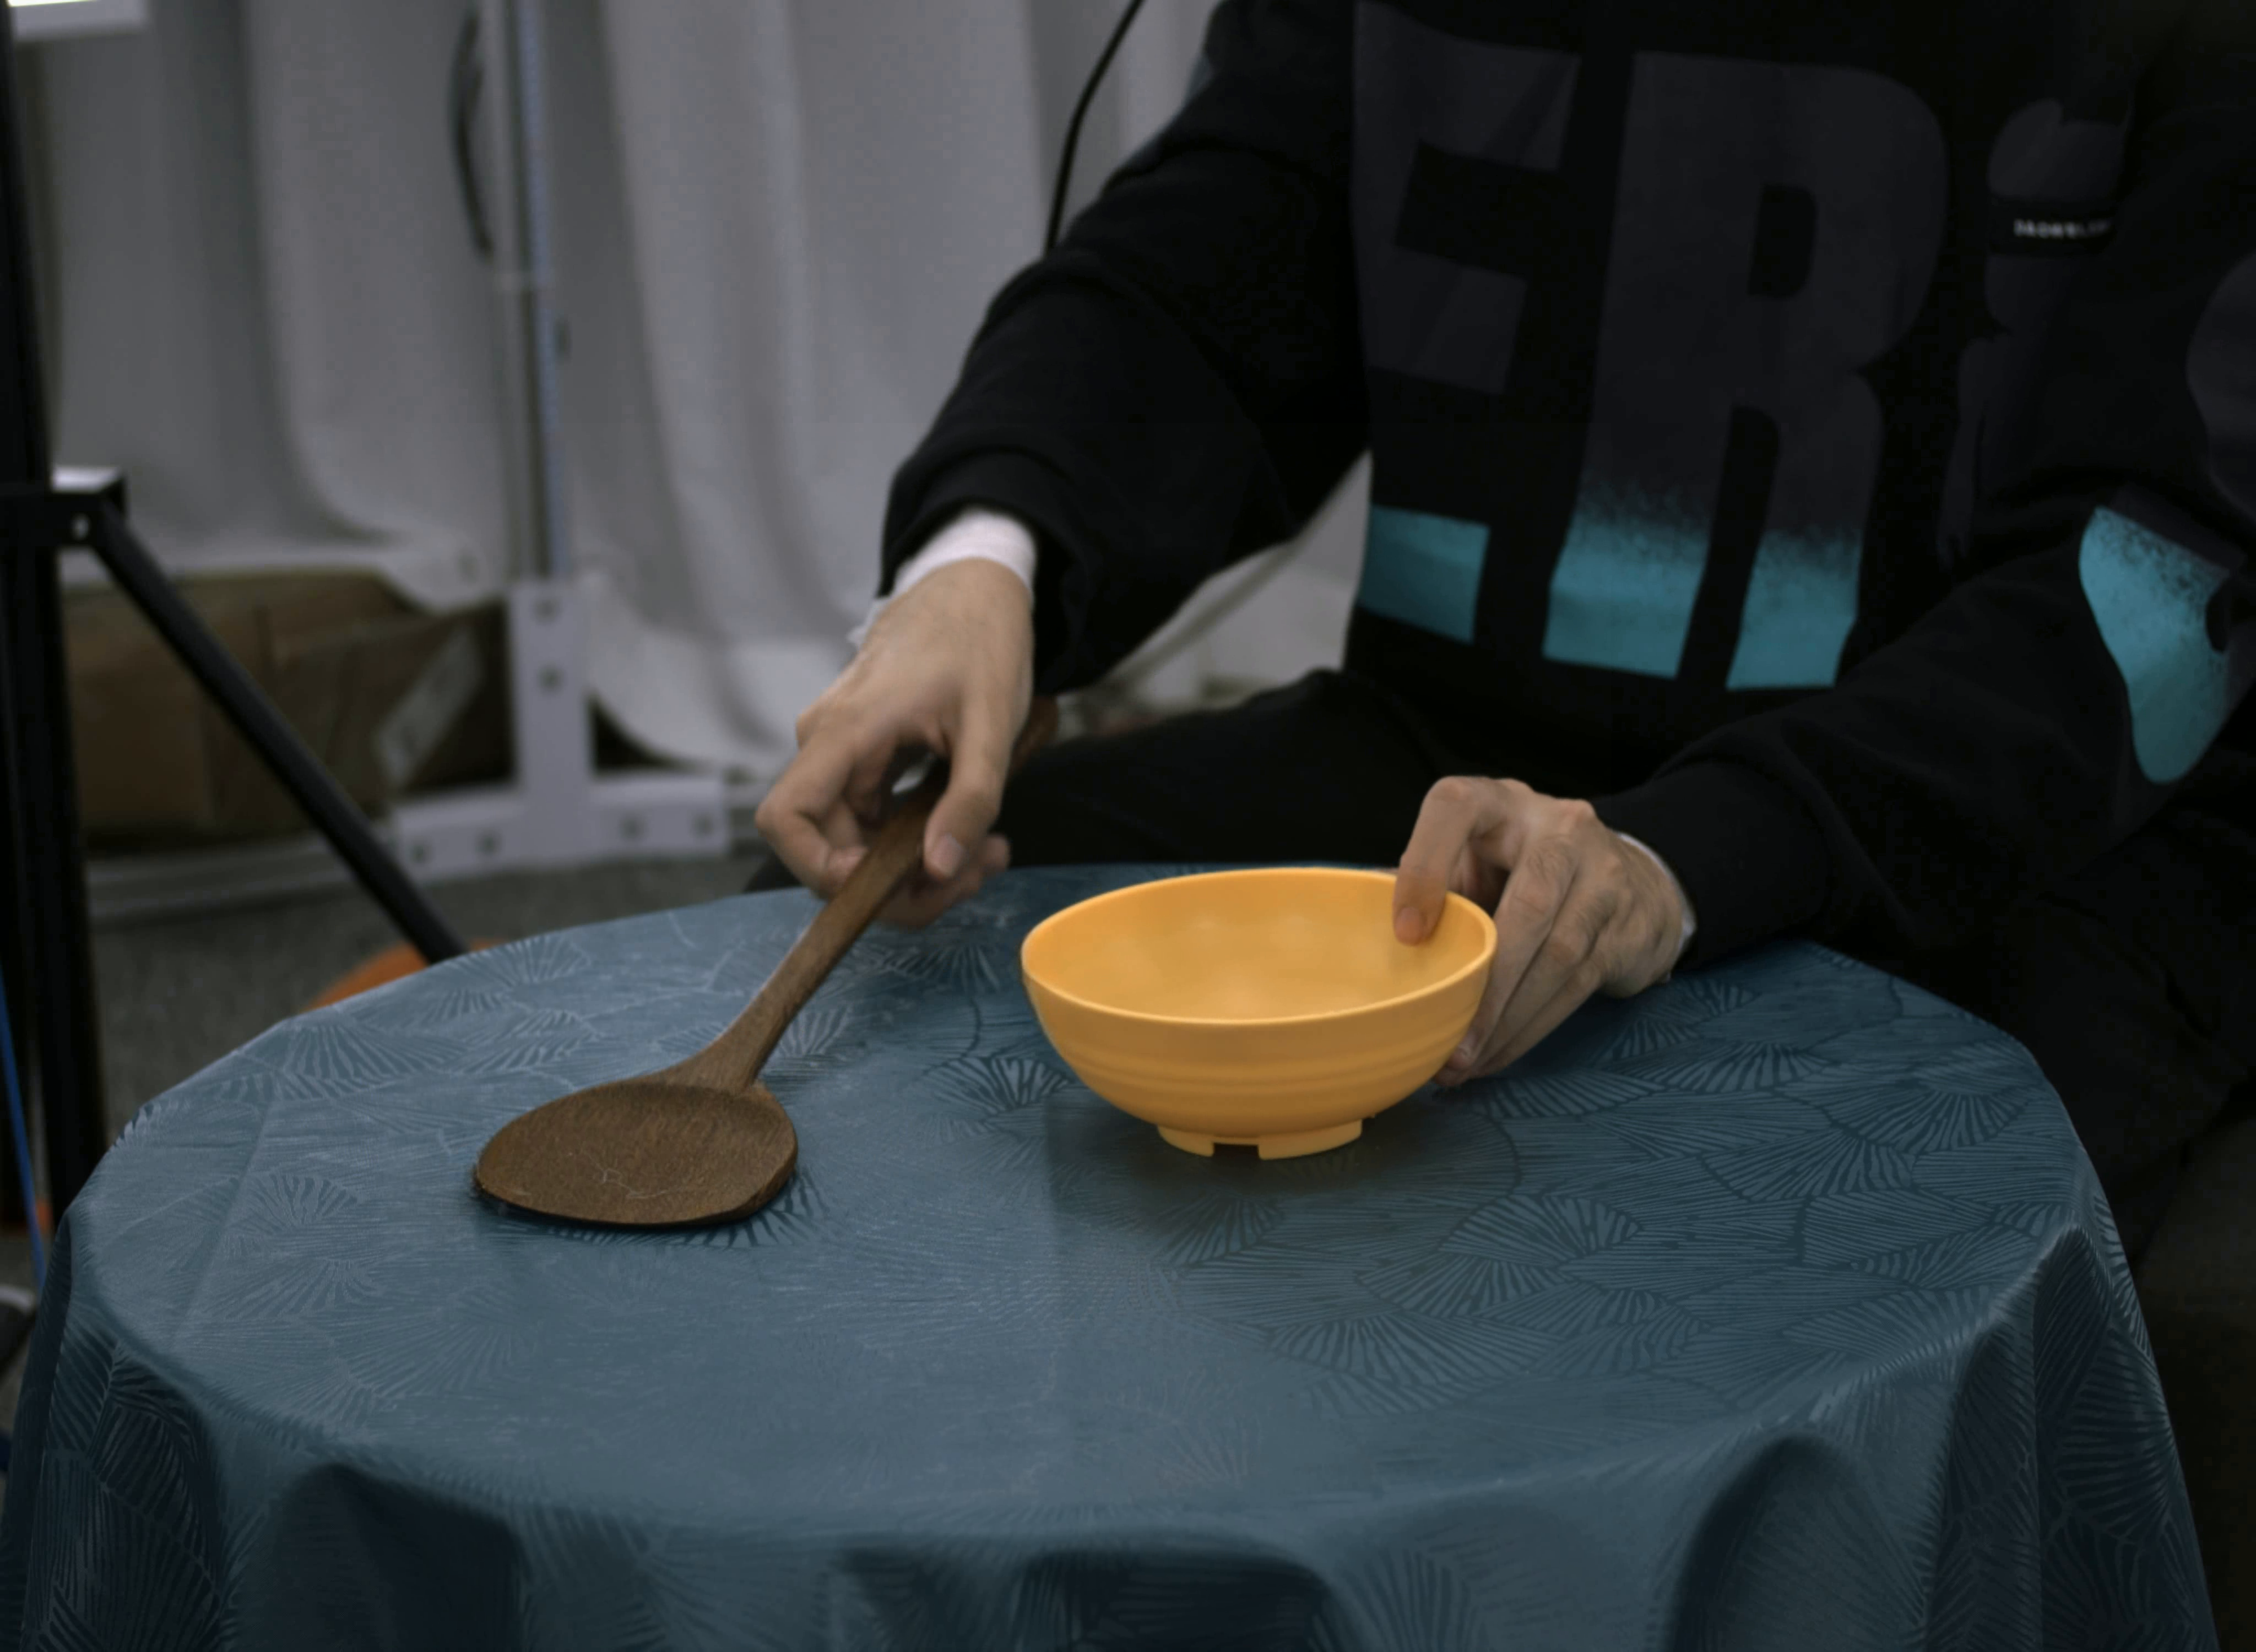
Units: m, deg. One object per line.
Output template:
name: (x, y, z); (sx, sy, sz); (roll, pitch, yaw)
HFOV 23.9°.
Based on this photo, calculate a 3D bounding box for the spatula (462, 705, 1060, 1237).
spatula: (-0.096, 0.038, 1.712); (0.097, 0.016, 0.383); (5, 27, 19)

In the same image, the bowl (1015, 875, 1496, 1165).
bowl: (0.039, 0.064, 1.602); (0.144, 0.060, 0.146); (-2, 16, -1)
